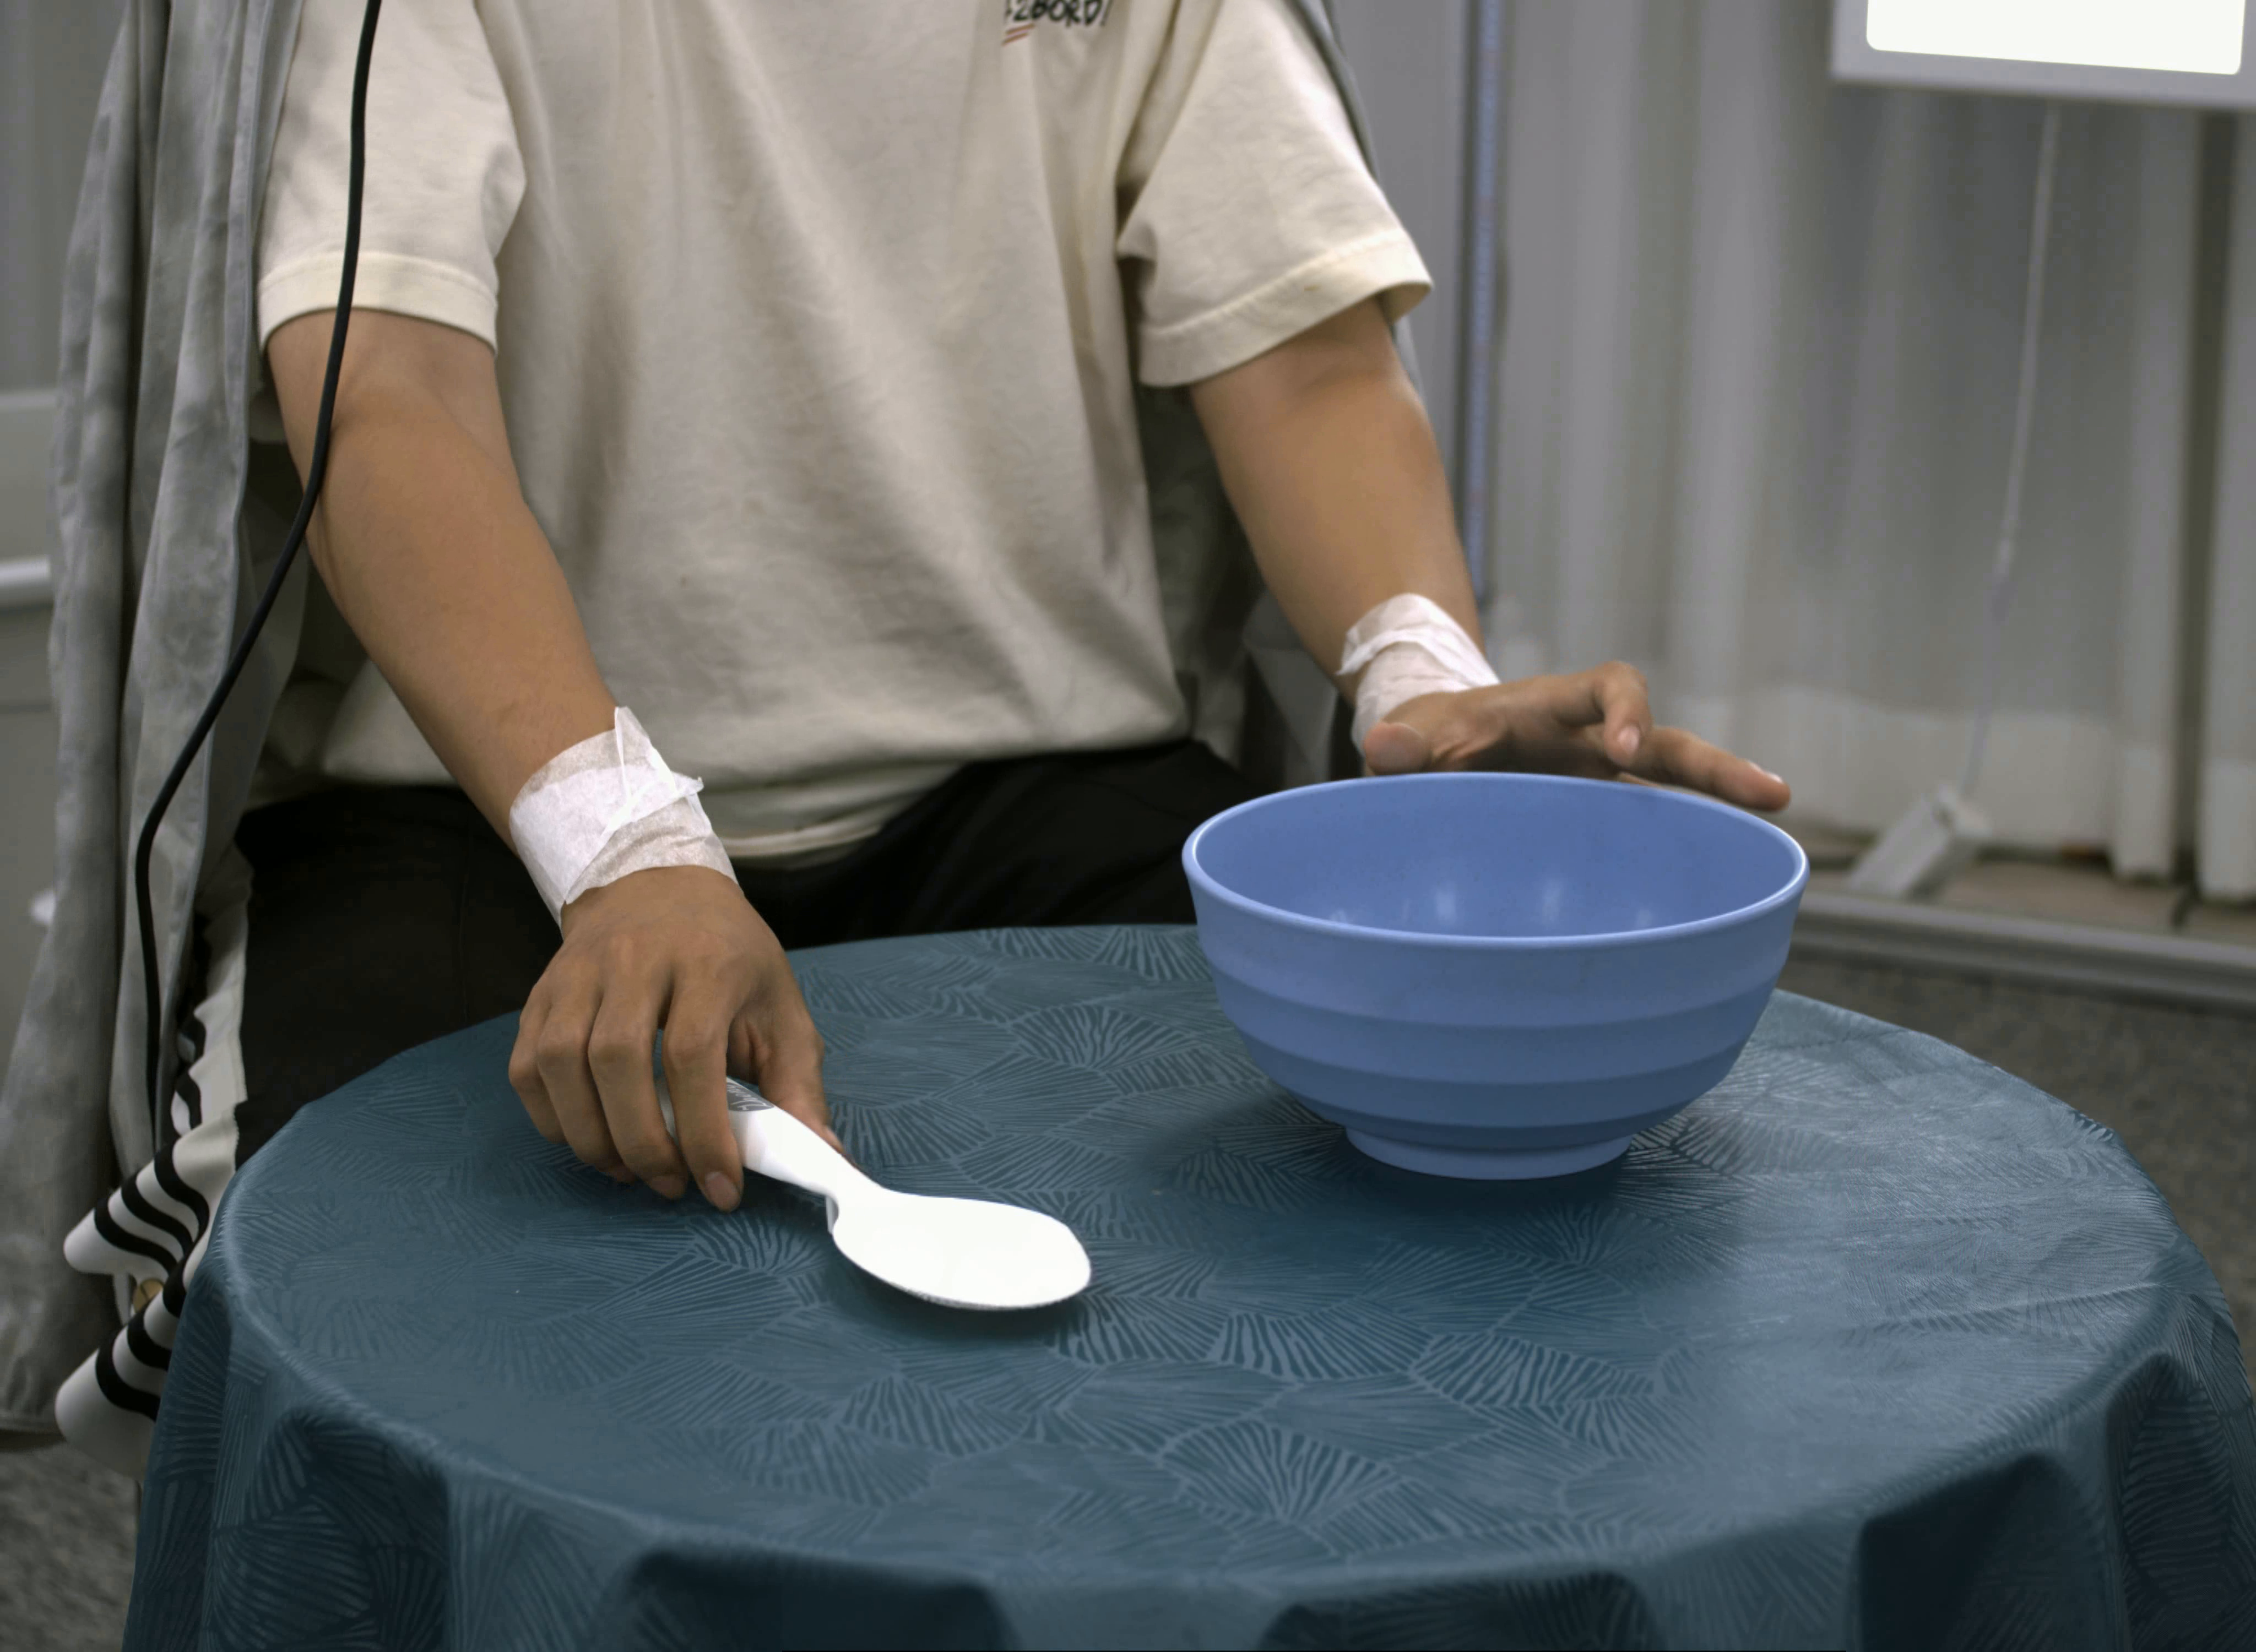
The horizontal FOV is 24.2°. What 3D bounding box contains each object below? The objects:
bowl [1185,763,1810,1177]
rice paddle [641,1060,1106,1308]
[{"bbox_3d":[0.115,0.051,1.668,0.196,0.096,0.195,1,17,0],"label":"bowl"},{"bbox_3d":[-0.079,0.109,1.577,0.069,0.029,0.202,-13,20,-35],"label":"rice paddle"}]
